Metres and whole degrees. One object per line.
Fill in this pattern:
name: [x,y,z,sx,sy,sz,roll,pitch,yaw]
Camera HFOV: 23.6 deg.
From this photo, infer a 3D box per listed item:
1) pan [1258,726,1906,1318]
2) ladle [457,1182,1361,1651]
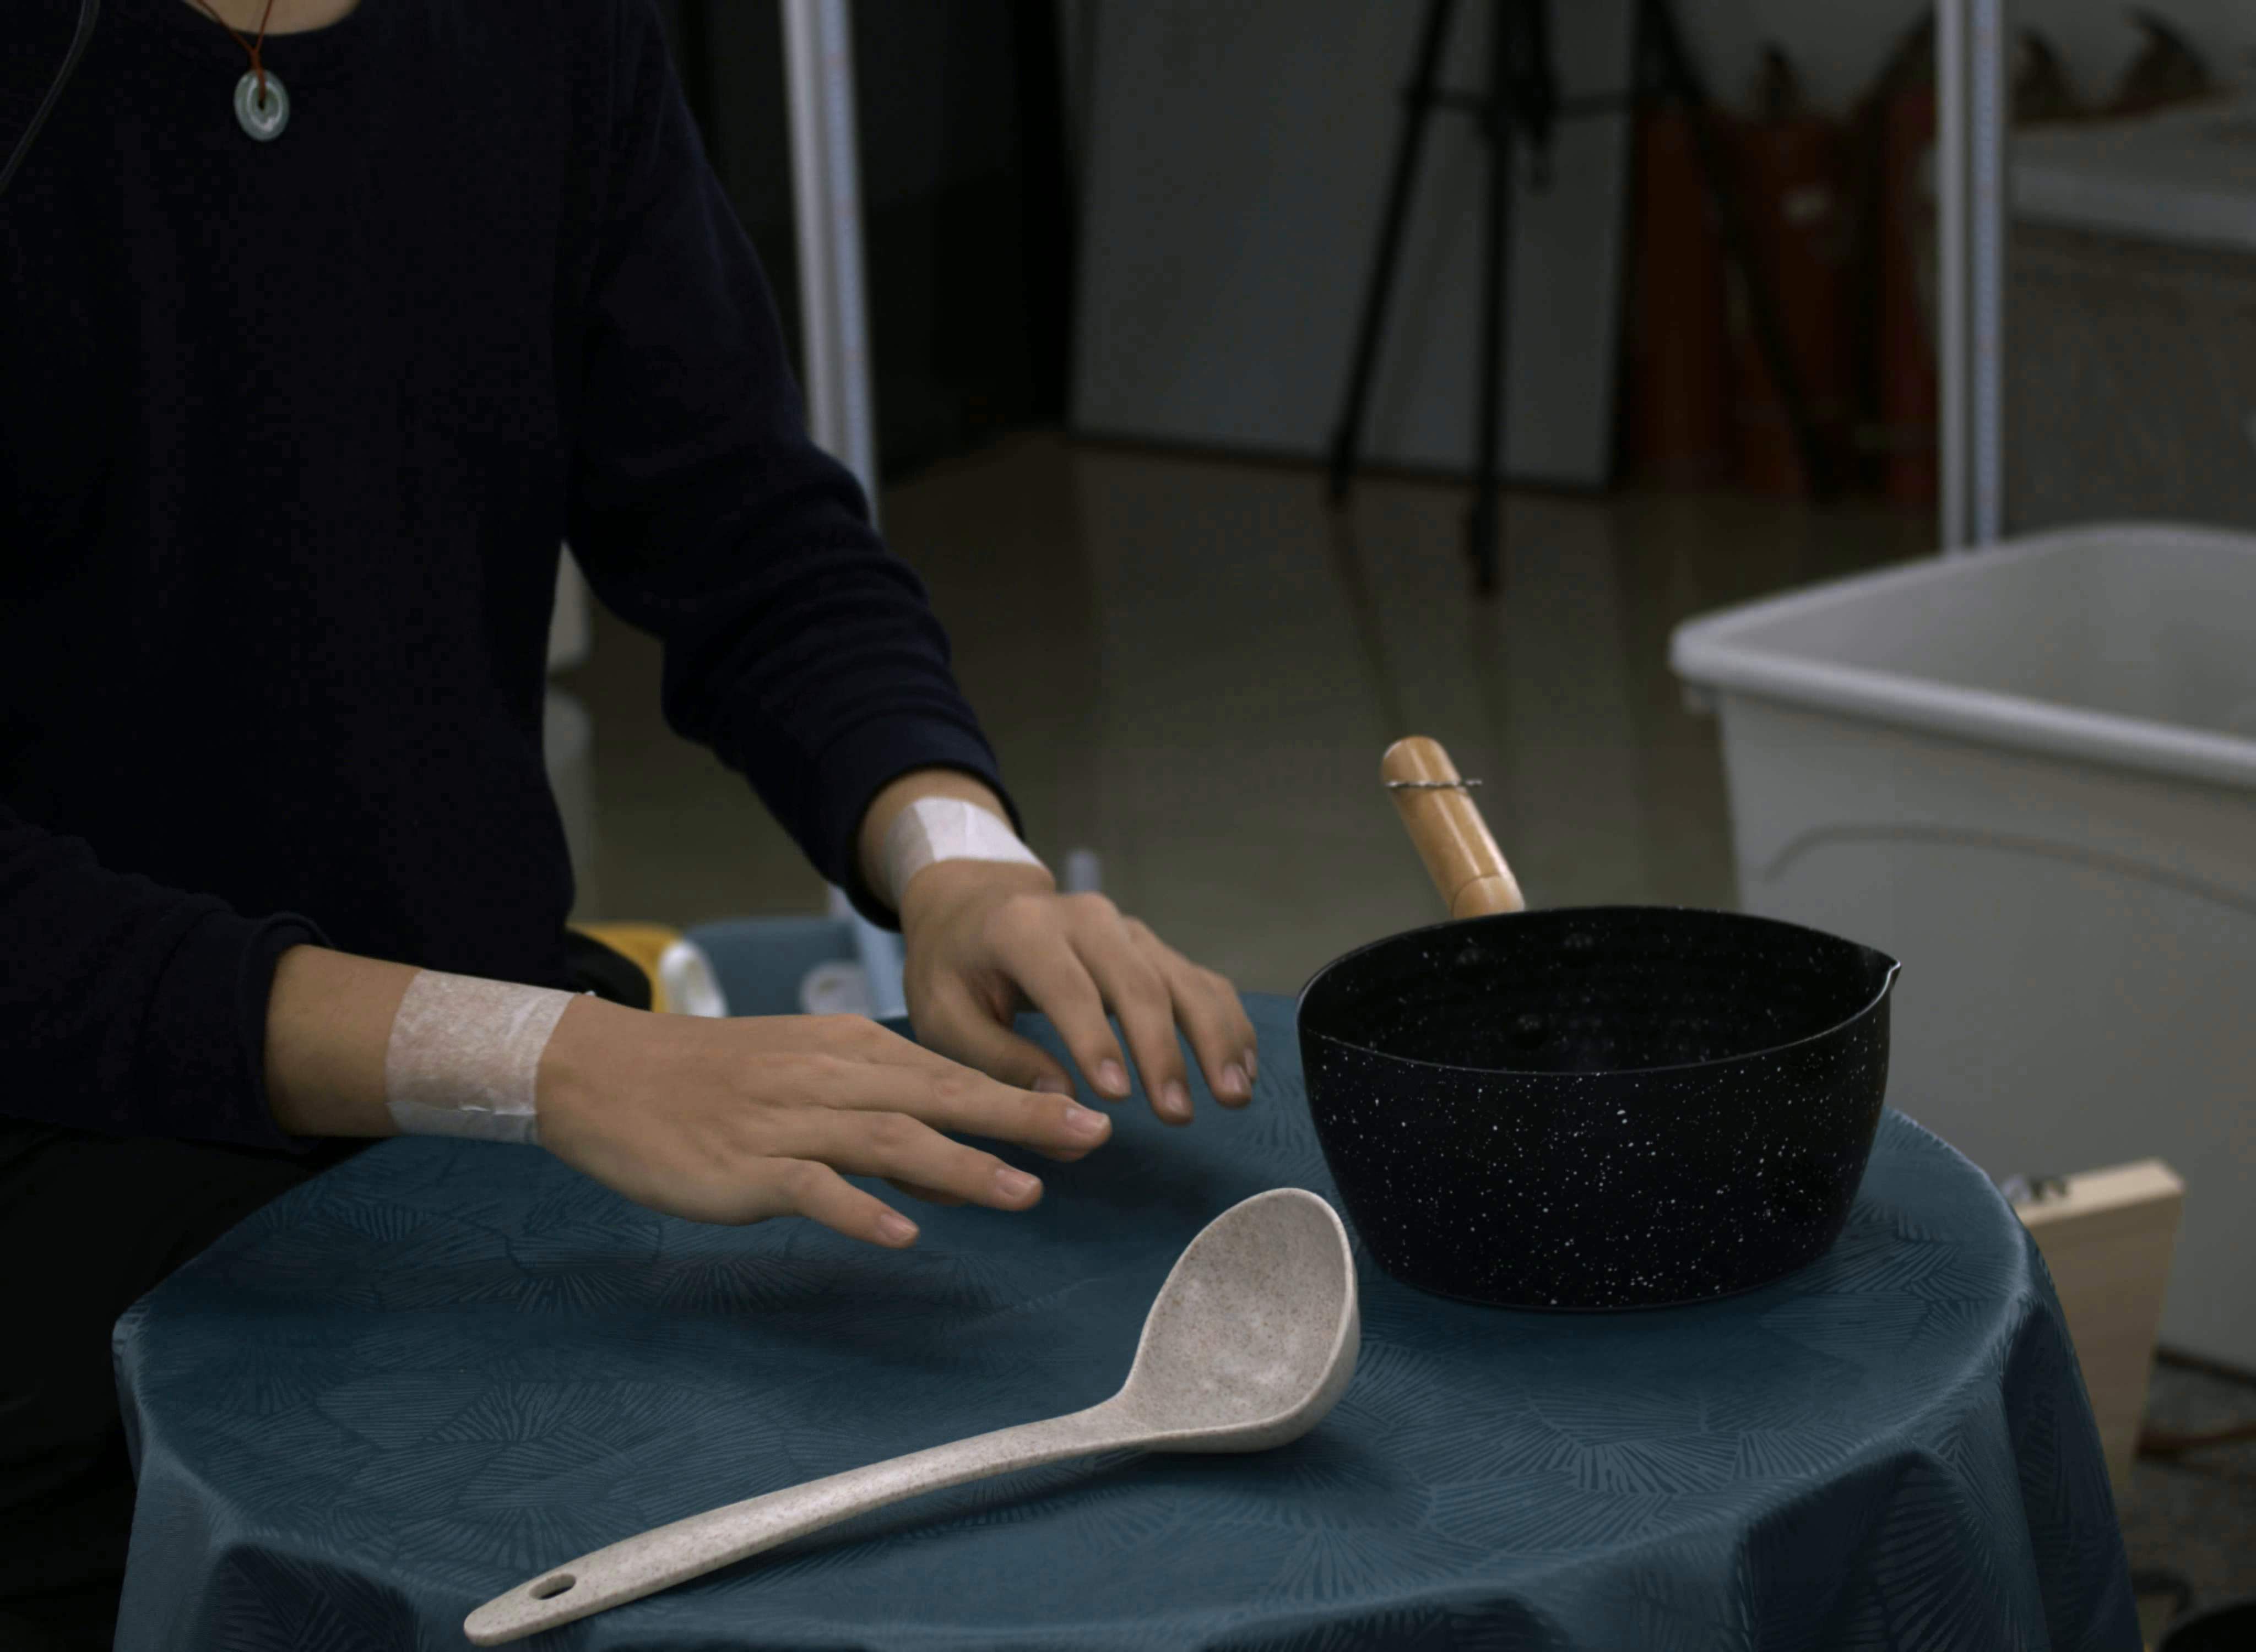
pan: [0.131,0.059,1.757,0.204,0.109,0.345,-7,16,-9]
ladle: [-0.060,0.163,1.491,0.269,0.070,0.090,-13,25,-24]
